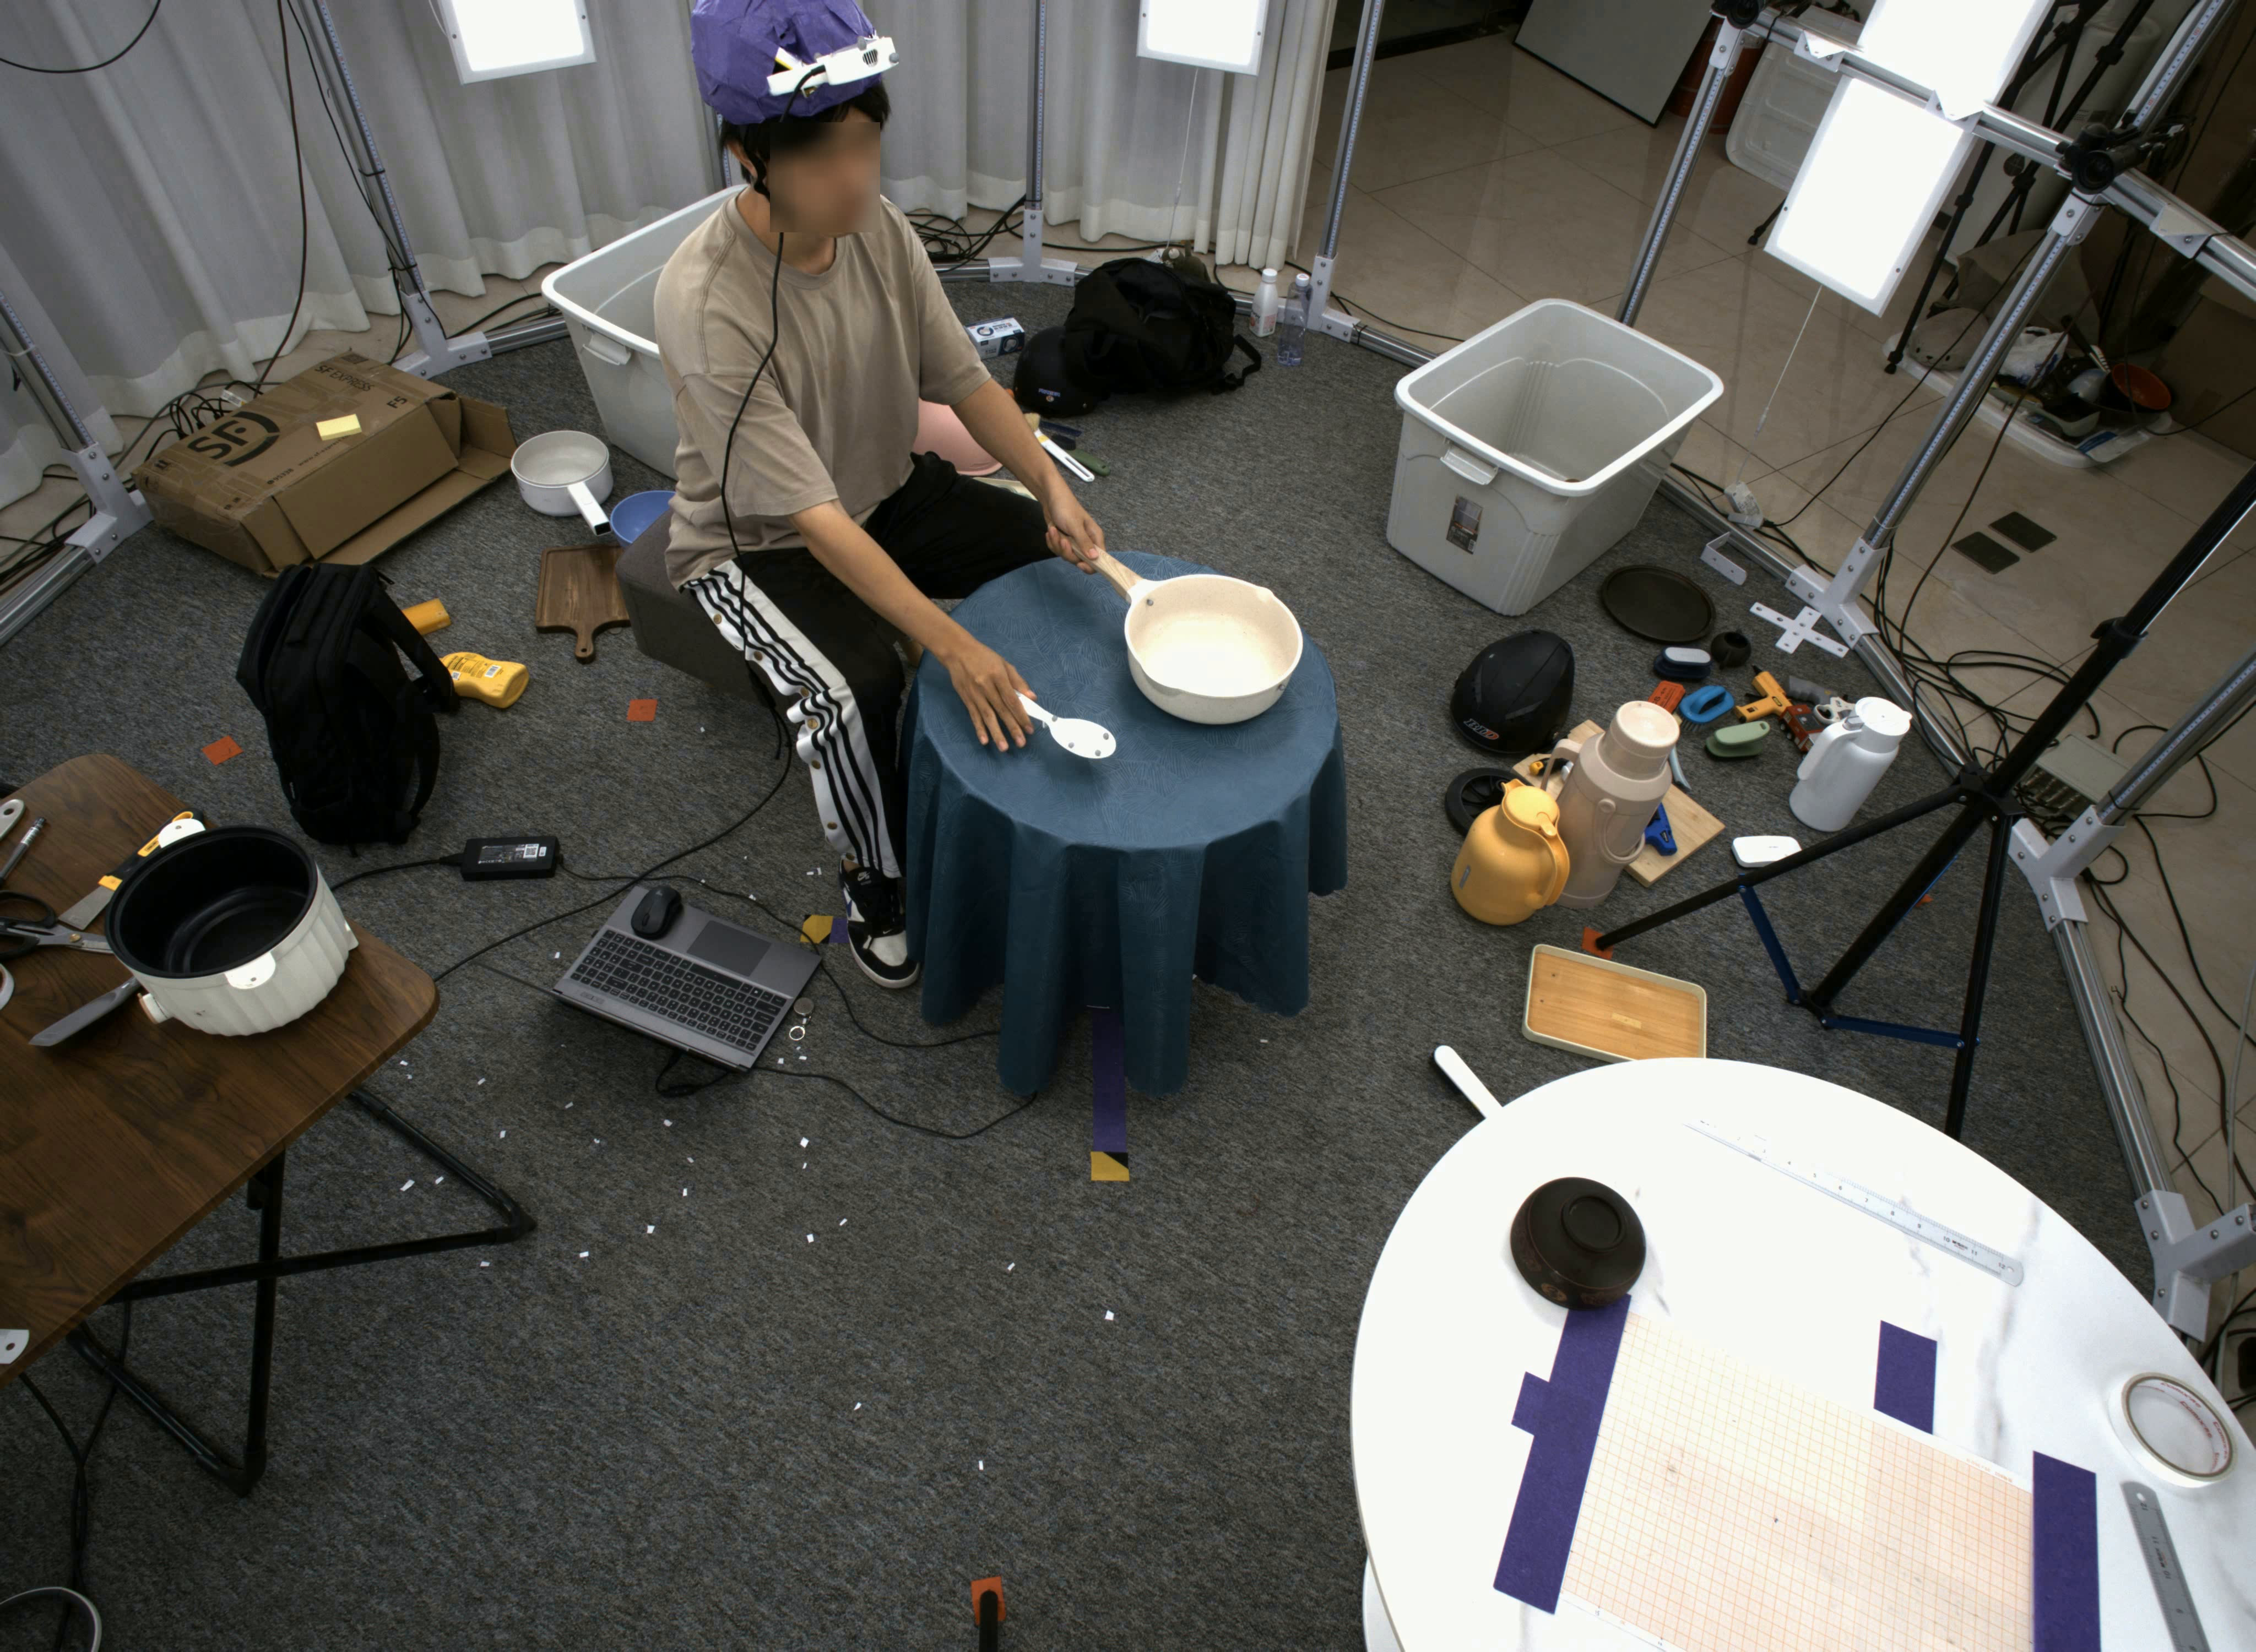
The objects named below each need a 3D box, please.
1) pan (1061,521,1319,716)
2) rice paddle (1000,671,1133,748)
[{"bbox_3d":[0.072,-0.311,1.871,0.440,0.099,0.266,34,56,23],"label":"pan"},{"bbox_3d":[-0.082,-0.156,1.720,0.207,0.029,0.069,28,46,23],"label":"rice paddle"}]
